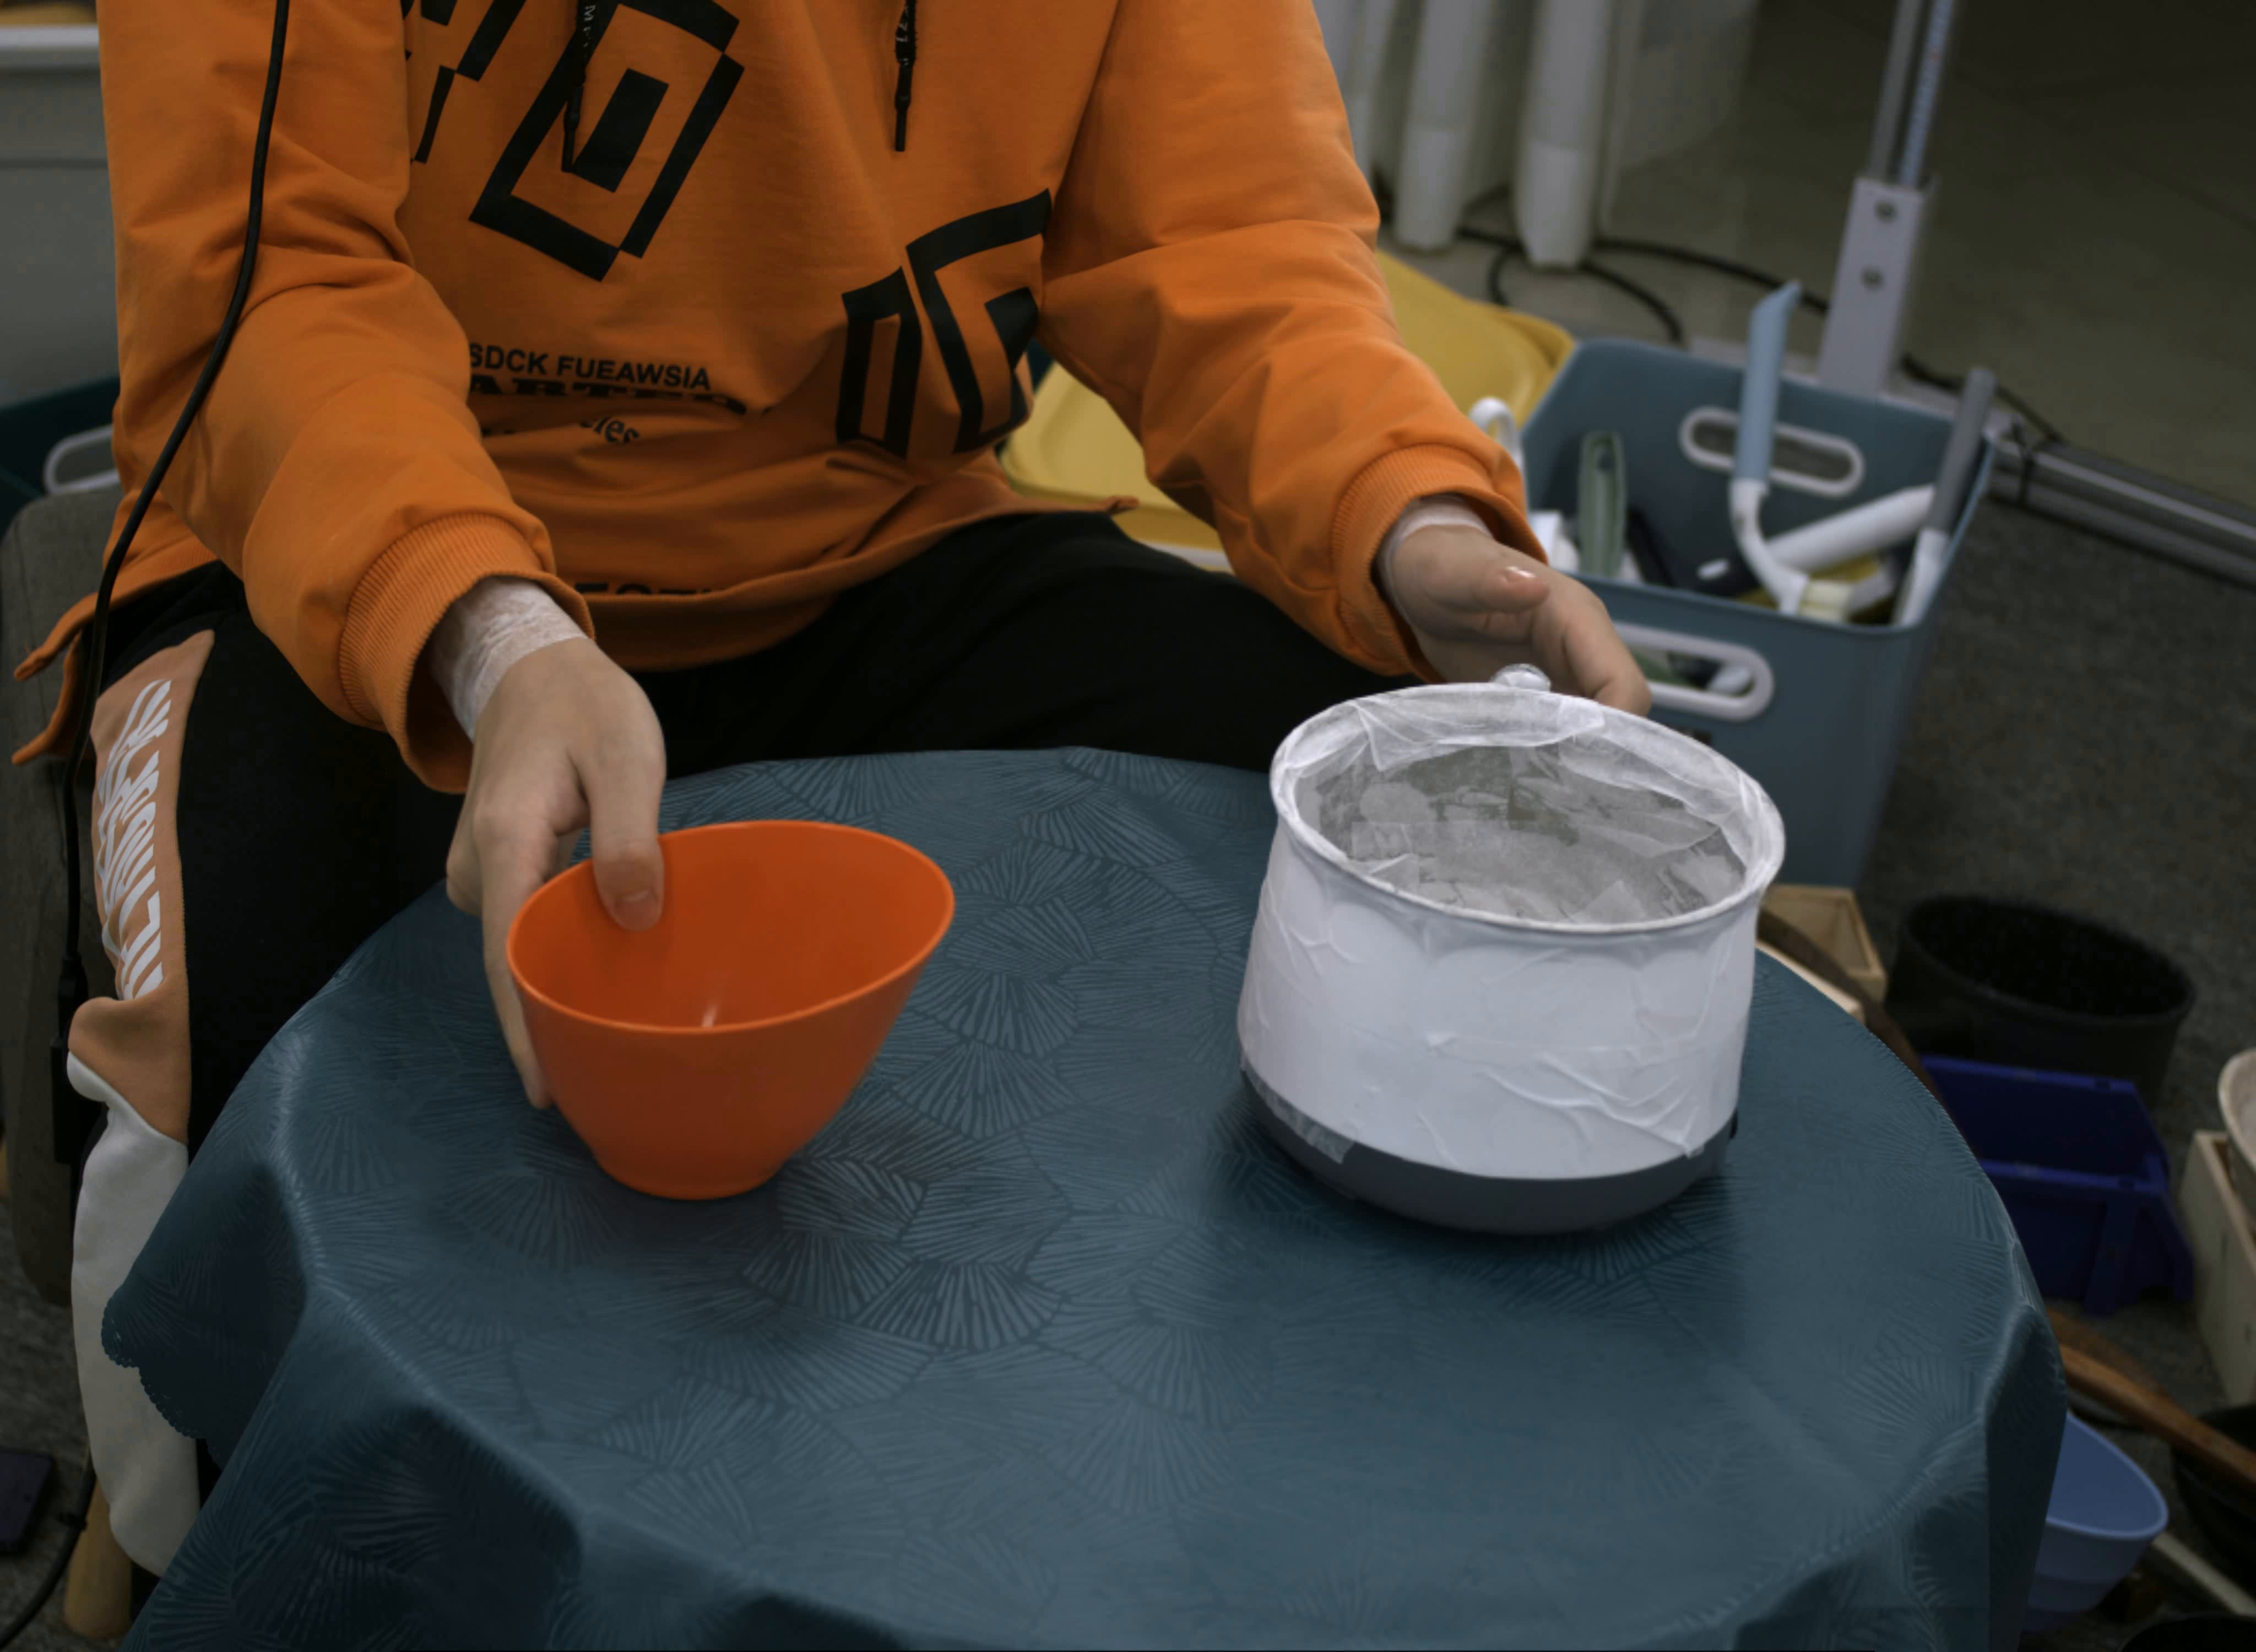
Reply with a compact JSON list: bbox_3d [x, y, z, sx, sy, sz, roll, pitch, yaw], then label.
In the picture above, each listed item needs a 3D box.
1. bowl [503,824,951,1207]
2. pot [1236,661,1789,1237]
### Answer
[{"bbox_3d":[-0.135,0.069,1.769,0.147,0.104,0.149,3,30,-2],"label":"bowl"},{"bbox_3d":[0.129,0.035,1.854,0.178,0.136,0.235,7,27,-2],"label":"pot"}]
